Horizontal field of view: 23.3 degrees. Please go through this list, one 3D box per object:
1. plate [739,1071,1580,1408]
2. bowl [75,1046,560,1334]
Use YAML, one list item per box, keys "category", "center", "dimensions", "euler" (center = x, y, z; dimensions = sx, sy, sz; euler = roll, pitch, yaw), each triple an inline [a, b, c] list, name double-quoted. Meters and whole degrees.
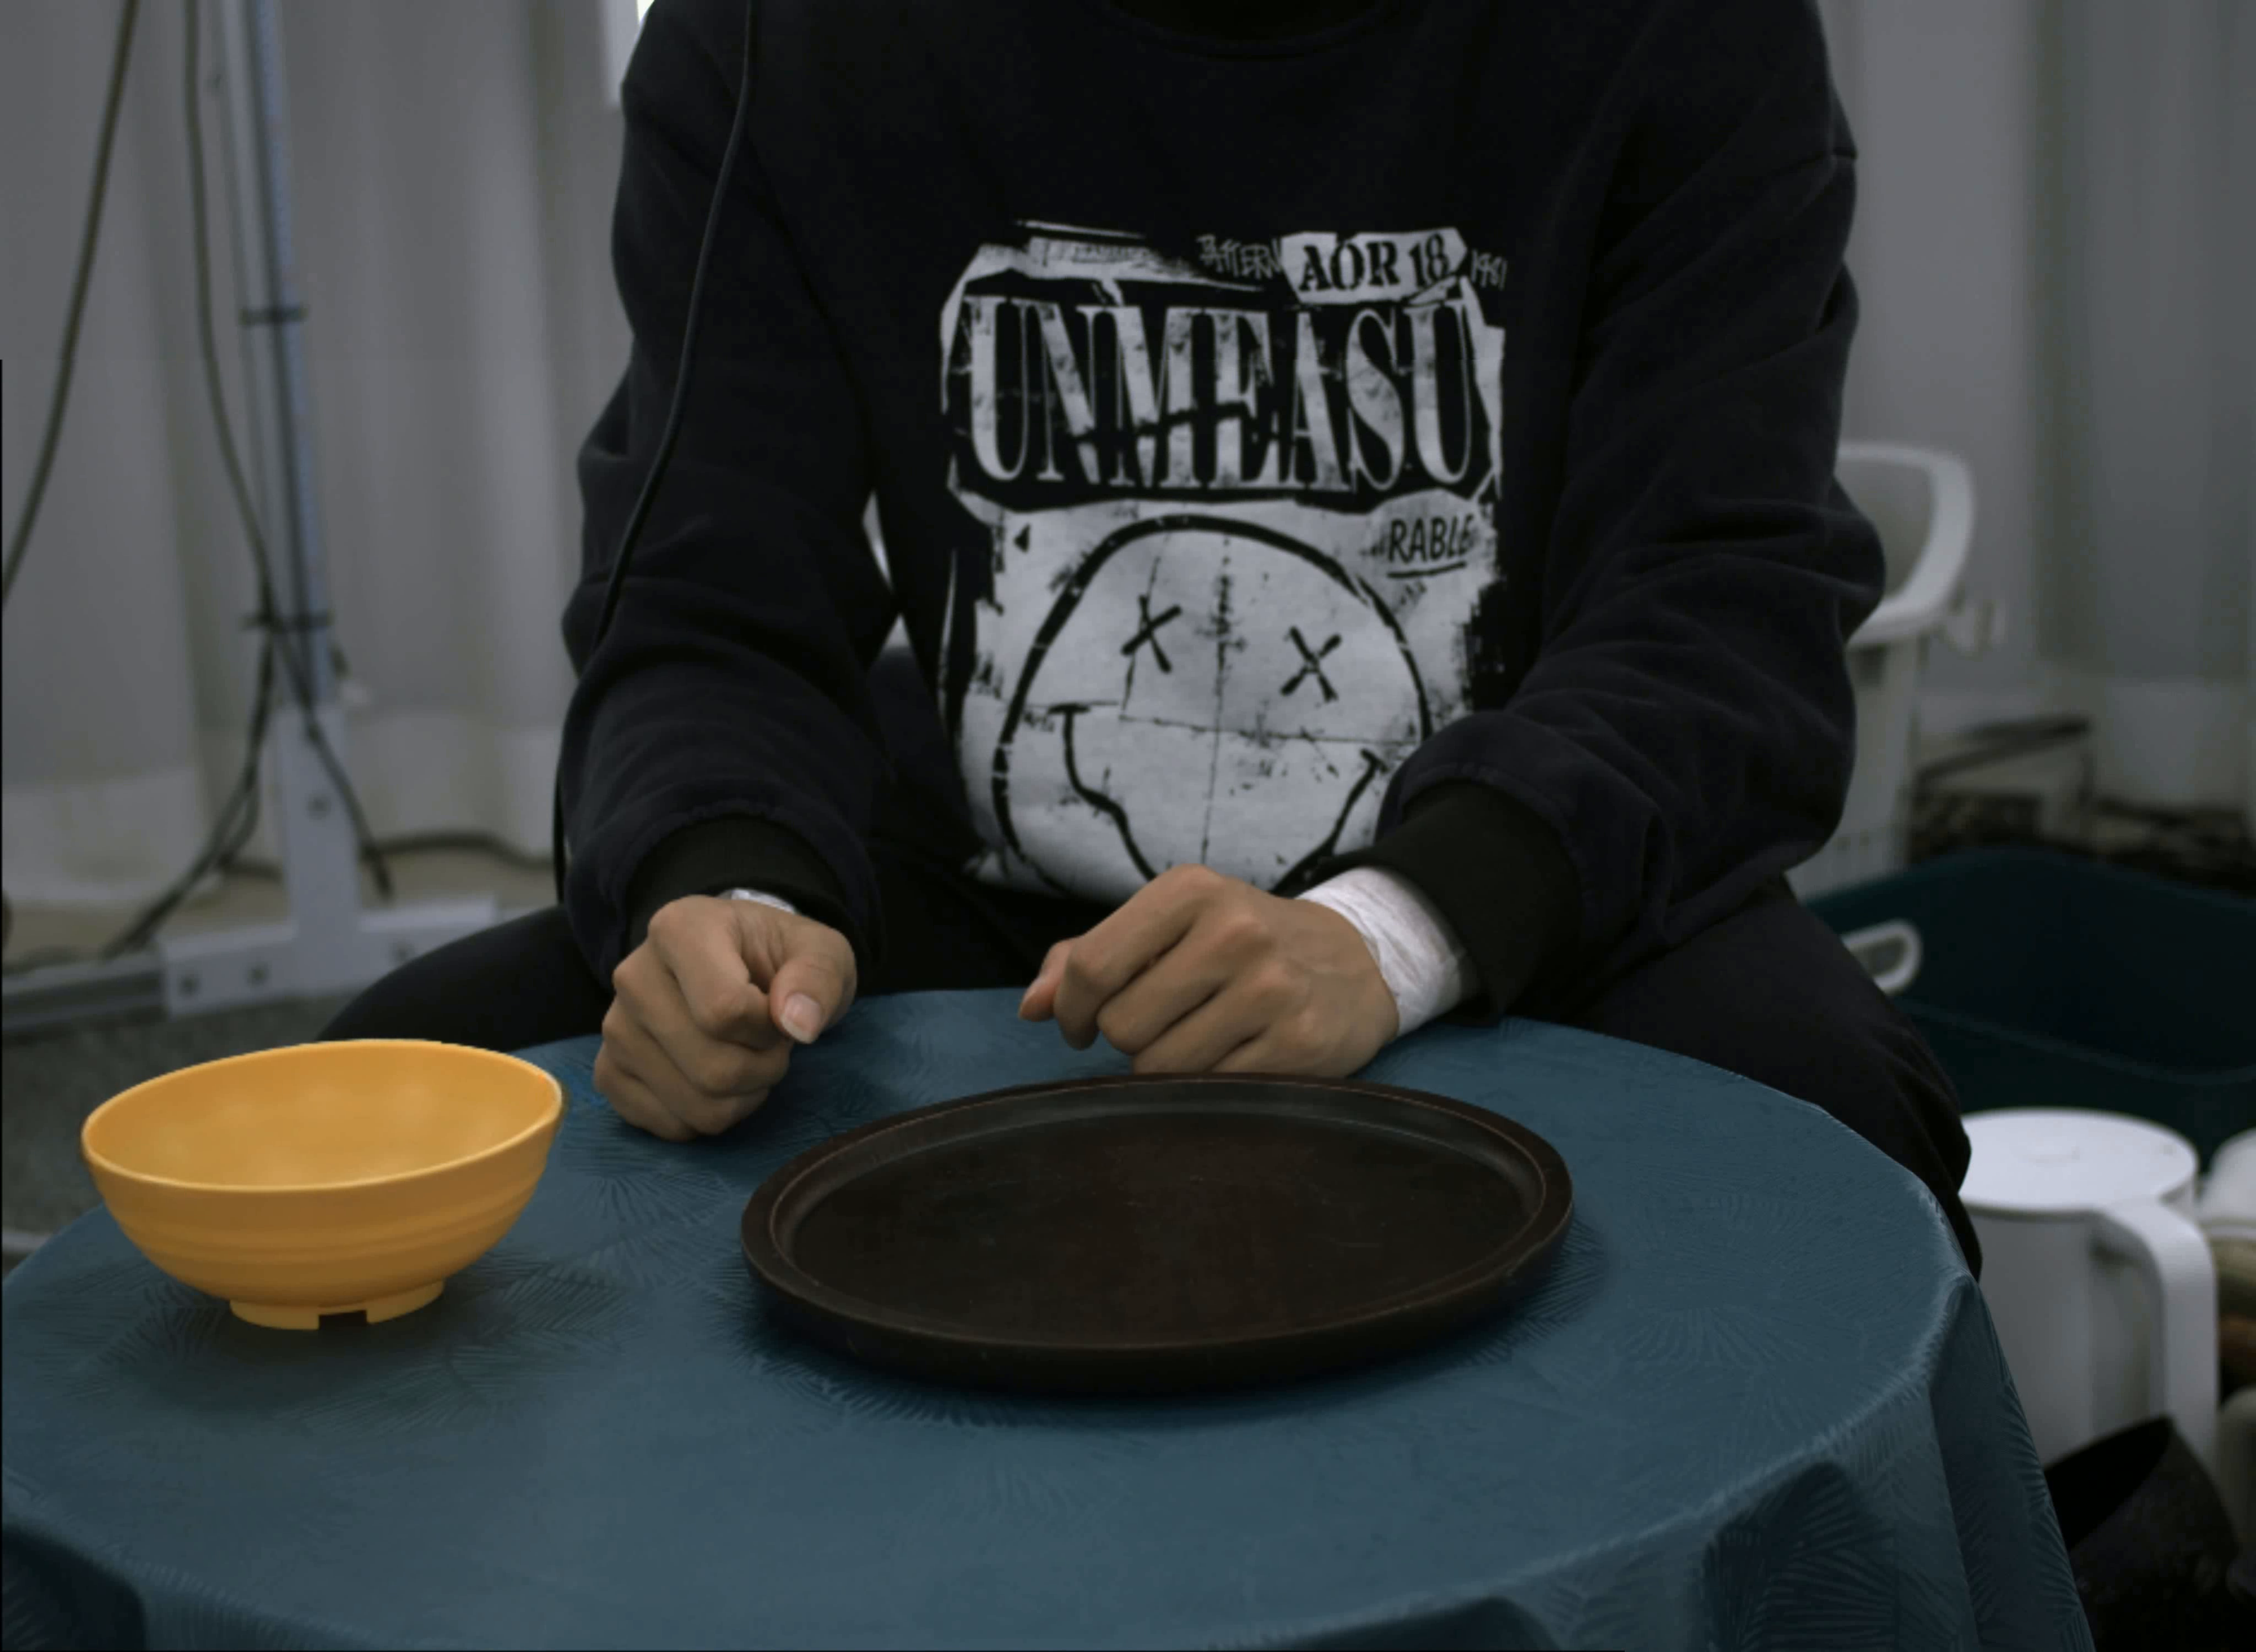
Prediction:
- category: "plate"
  center: [0.010, 0.122, 1.643]
  dimensions: [0.254, 0.029, 0.256]
  euler: [-4, 14, 1]
- category: "bowl"
  center: [-0.243, 0.115, 1.652]
  dimensions: [0.145, 0.060, 0.146]
  euler: [-1, 13, 0]
